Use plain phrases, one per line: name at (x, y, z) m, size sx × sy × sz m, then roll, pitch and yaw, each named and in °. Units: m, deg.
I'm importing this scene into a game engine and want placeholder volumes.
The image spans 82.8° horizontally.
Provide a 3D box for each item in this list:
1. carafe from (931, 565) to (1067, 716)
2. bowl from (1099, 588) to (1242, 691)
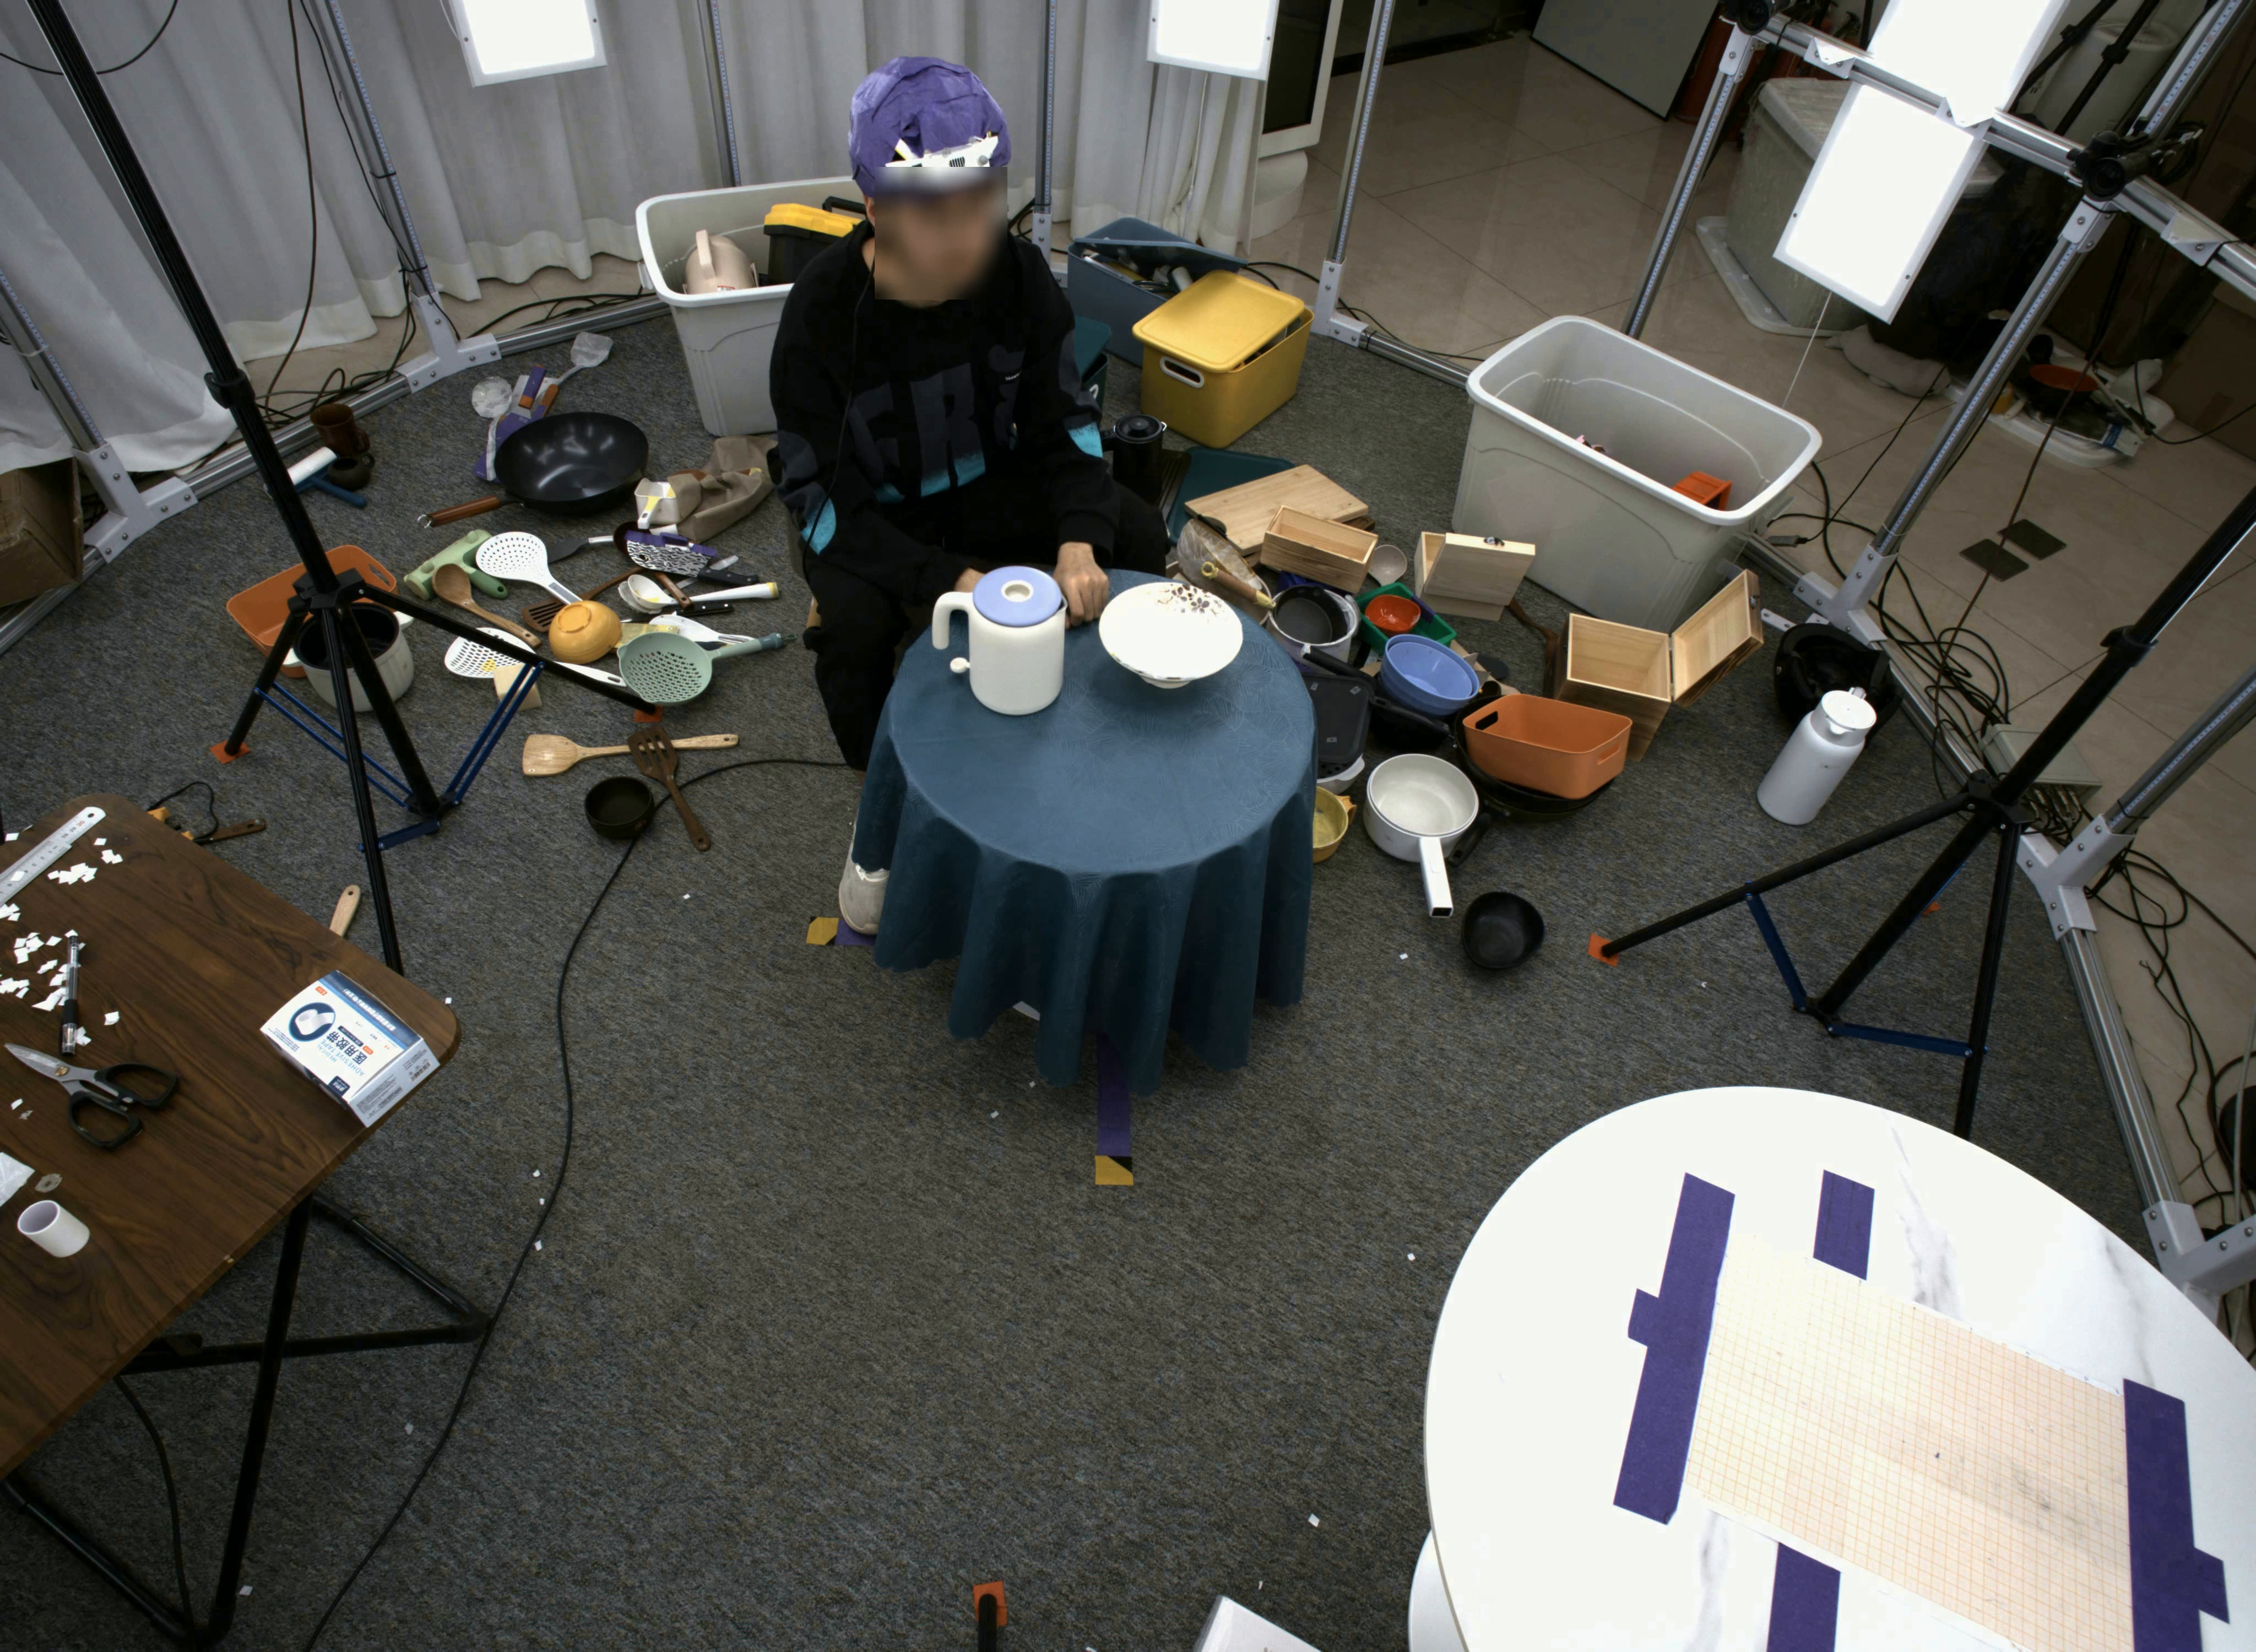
carafe at (-0.176, -0.257, 1.770) m, size 0.191 × 0.178 × 0.135 m, roll 7°, pitch 48°, yaw 5°
bowl at (0.058, -0.251, 1.843) m, size 0.204 × 0.076 × 0.209 m, roll 1°, pitch 45°, yaw -2°
